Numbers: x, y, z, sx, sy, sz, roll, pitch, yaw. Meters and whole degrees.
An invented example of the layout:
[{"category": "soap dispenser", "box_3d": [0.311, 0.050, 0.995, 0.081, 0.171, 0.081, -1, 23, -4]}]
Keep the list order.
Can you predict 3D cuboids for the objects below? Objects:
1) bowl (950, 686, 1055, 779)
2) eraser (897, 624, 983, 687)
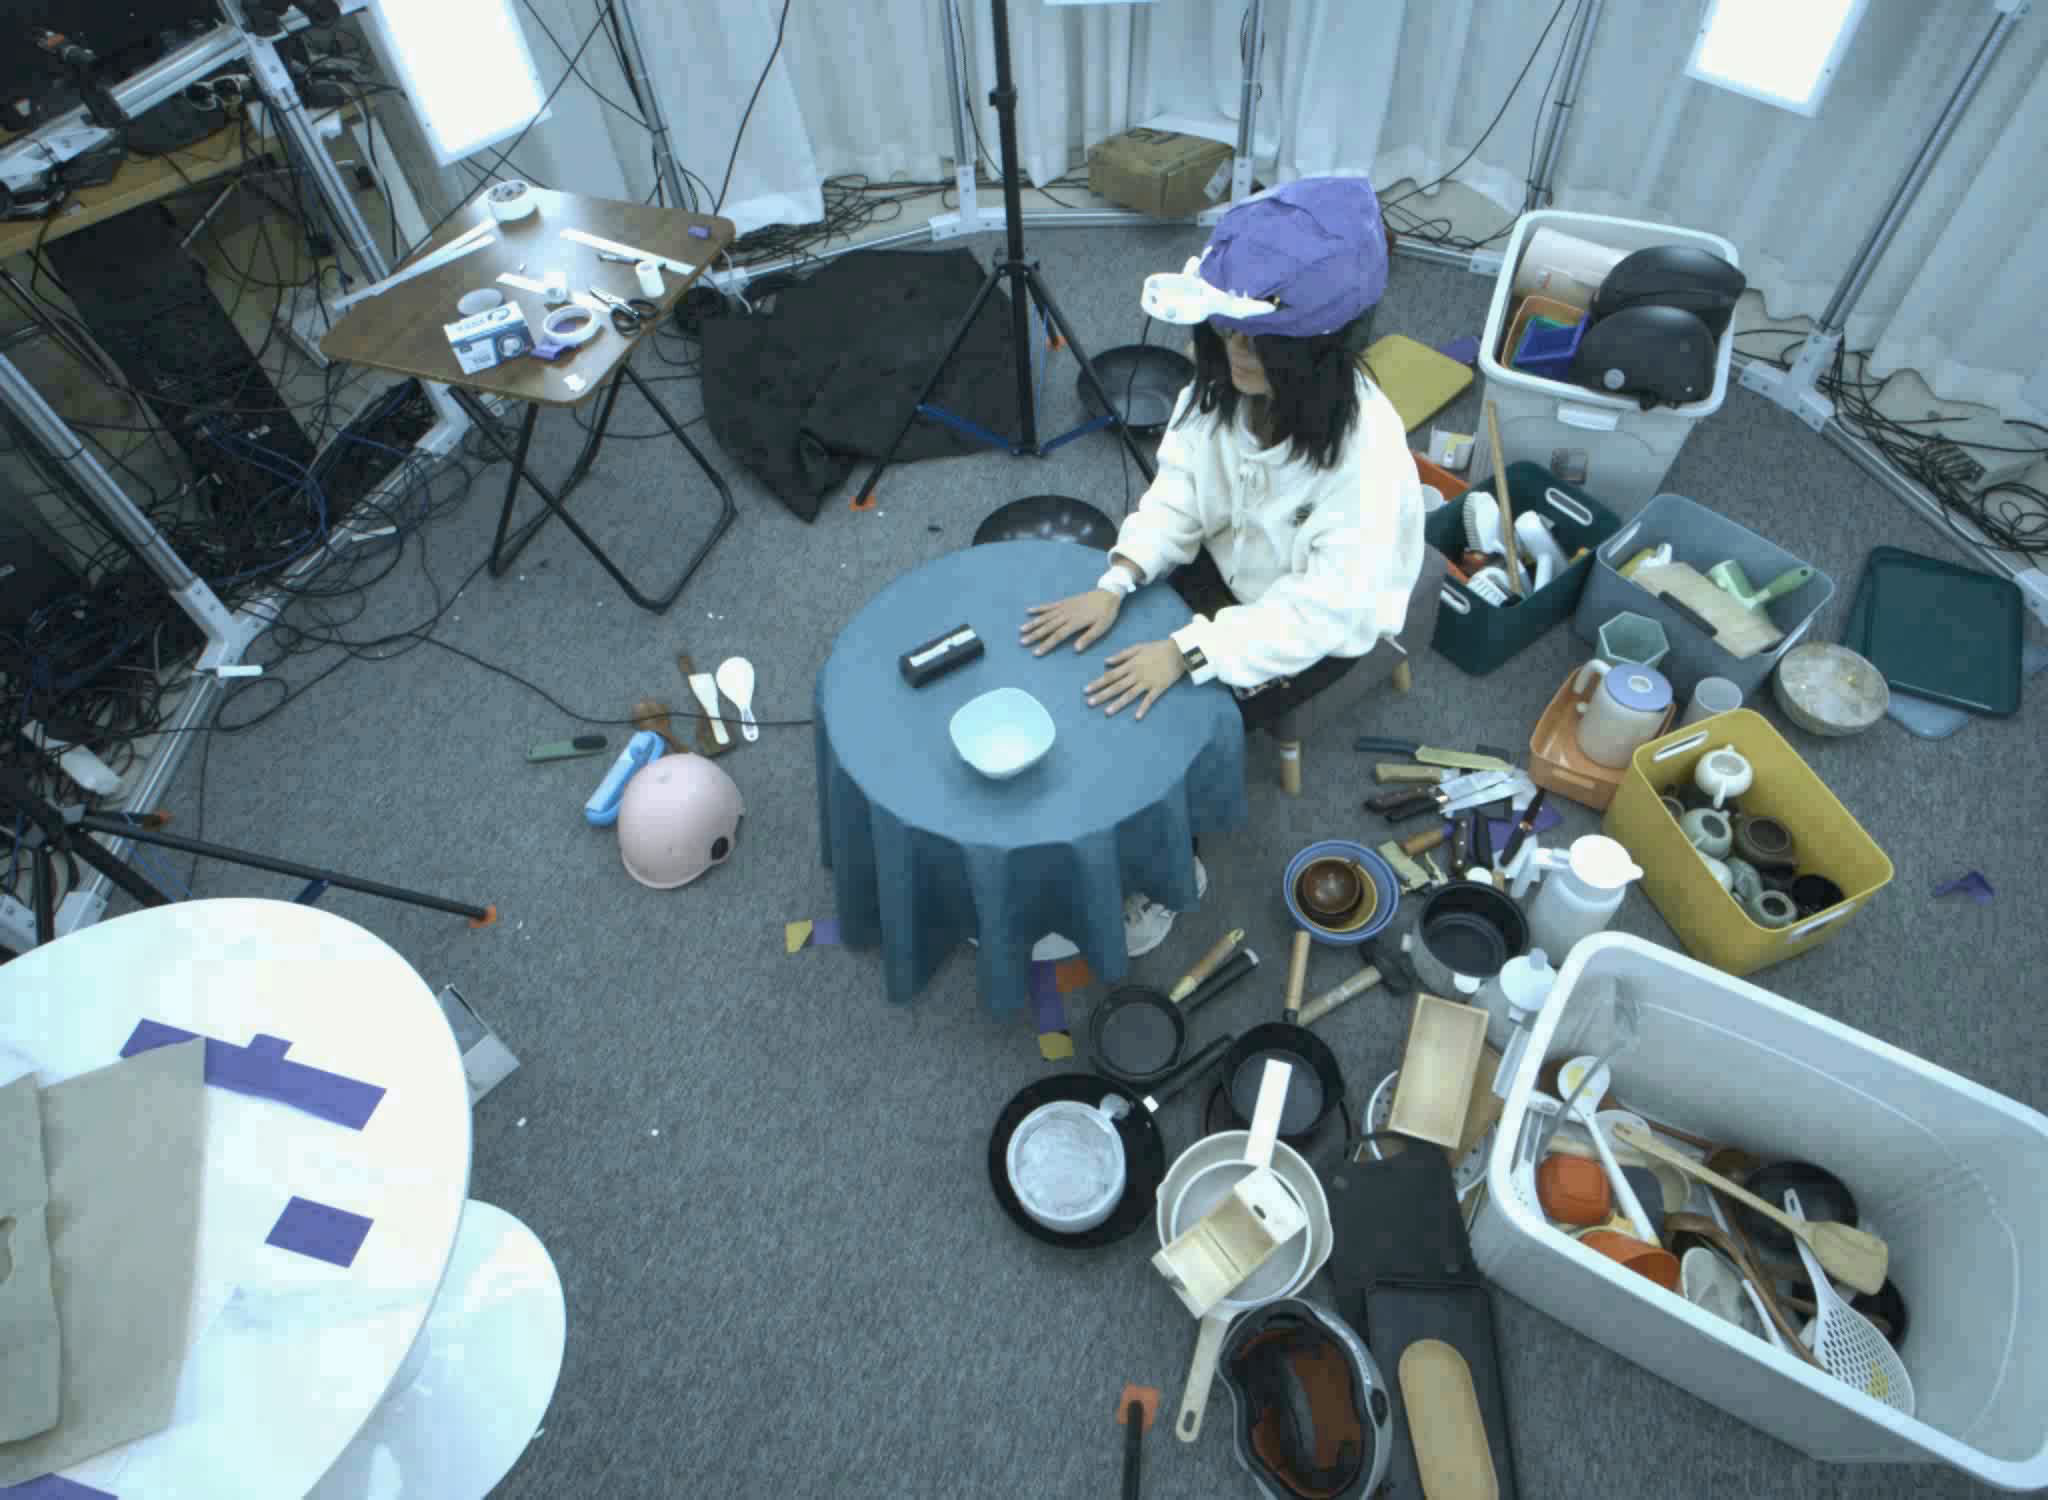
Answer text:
[{"category": "bowl", "box_3d": [-0.030, -0.014, 1.765, 0.151, 0.059, 0.150, 0, 57, 1]}, {"category": "eraser", "box_3d": [-0.129, -0.145, 1.879, 0.126, 0.031, 0.052, -29, 60, -20]}]
